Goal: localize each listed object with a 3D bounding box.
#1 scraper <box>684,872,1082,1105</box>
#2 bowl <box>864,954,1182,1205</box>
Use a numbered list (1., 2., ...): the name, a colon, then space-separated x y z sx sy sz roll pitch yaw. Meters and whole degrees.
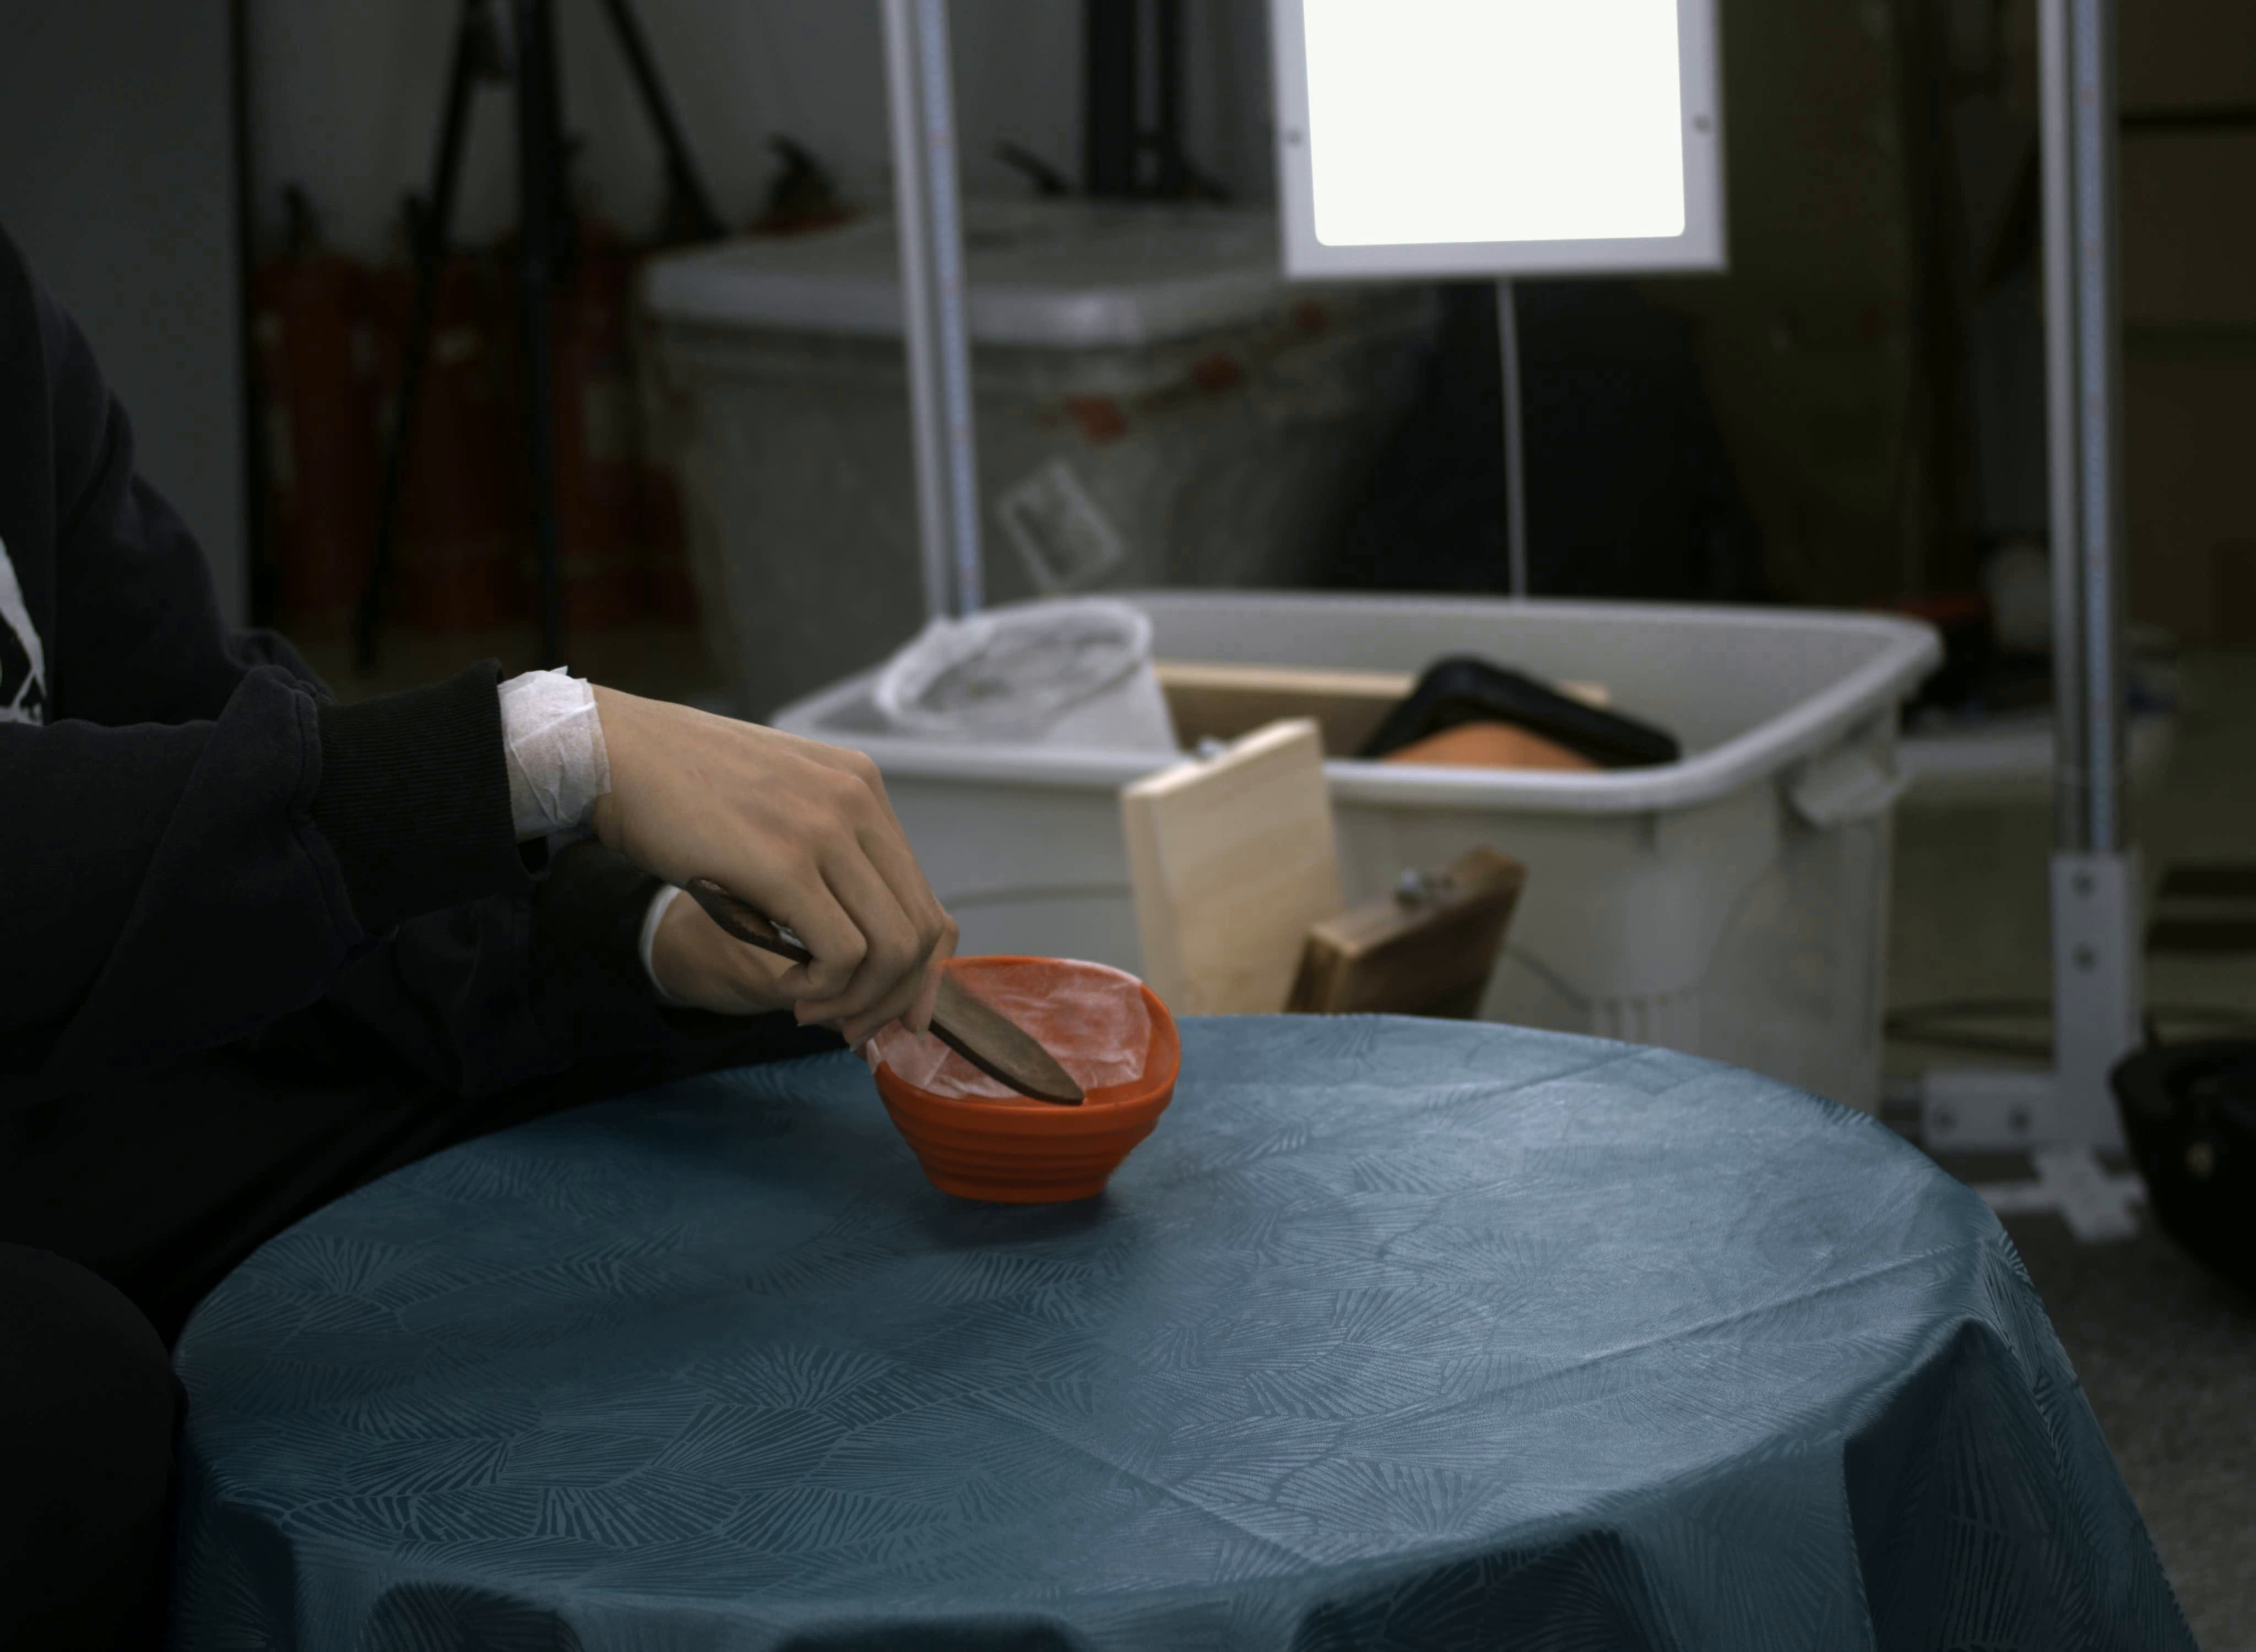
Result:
1. scraper: -0.085 0.050 1.826 0.077 0.011 0.207 45 8 32
2. bowl: -0.038 0.092 1.909 0.118 0.052 0.118 3 28 -3
